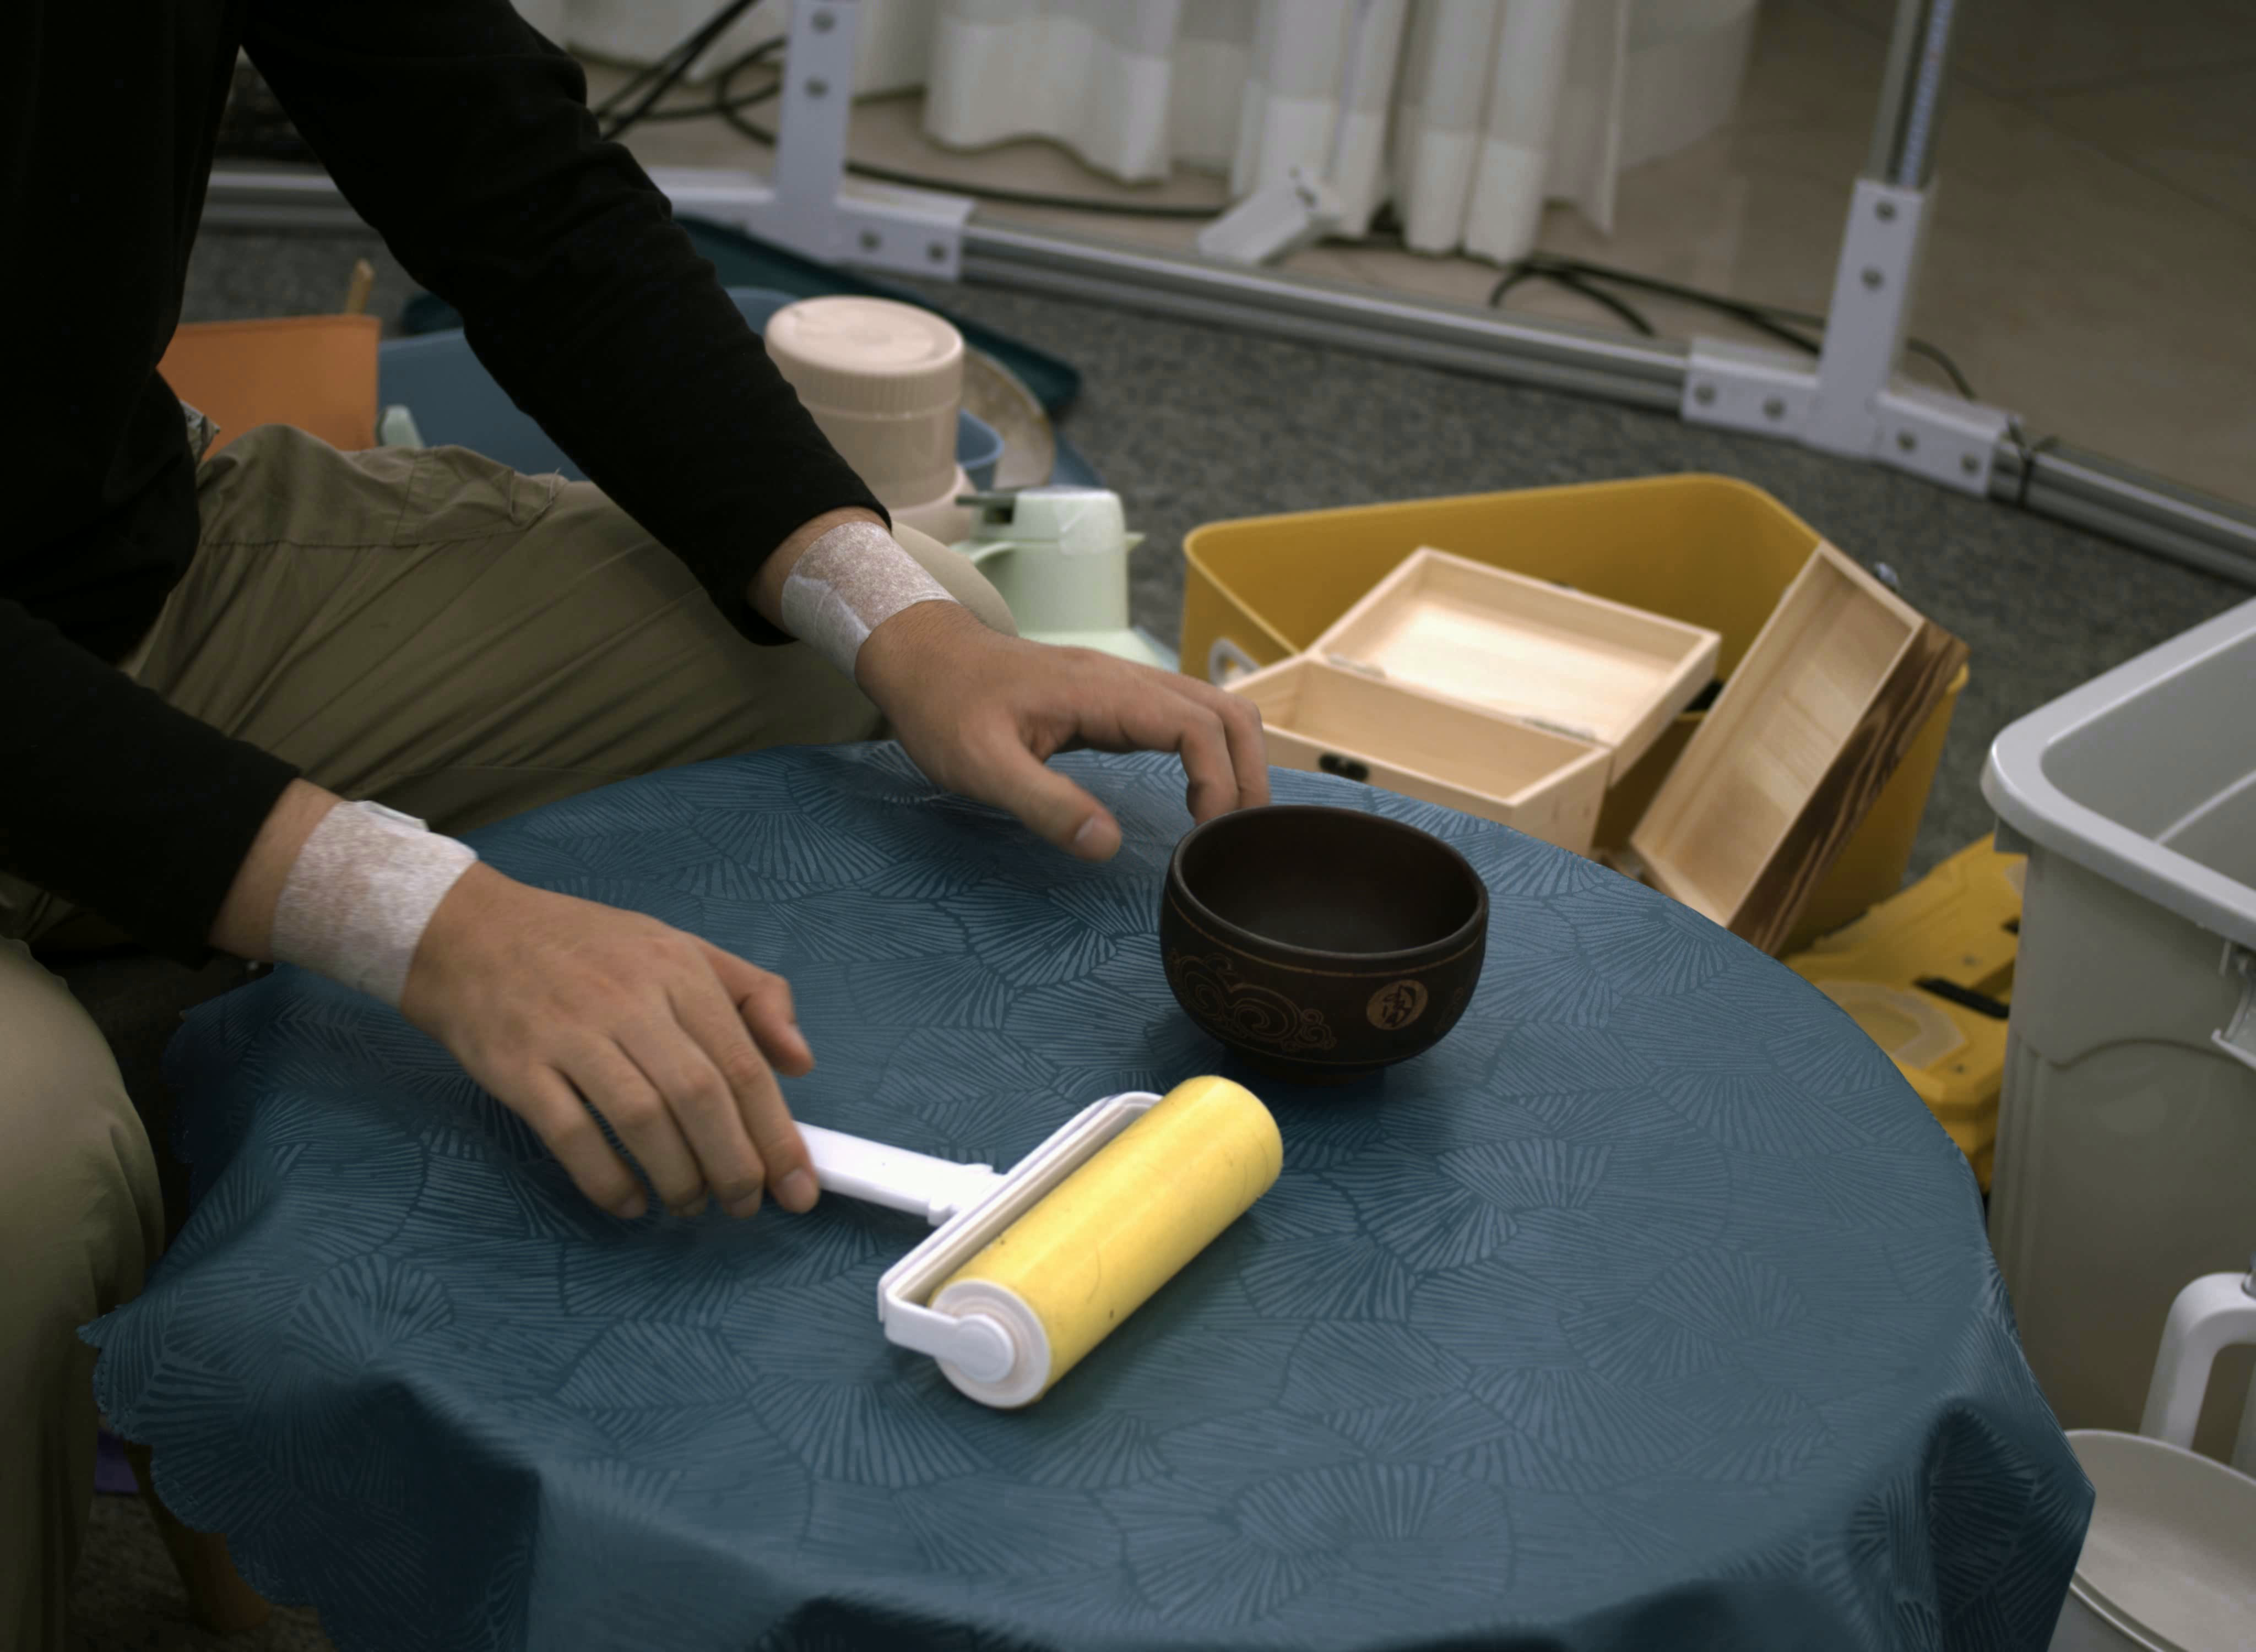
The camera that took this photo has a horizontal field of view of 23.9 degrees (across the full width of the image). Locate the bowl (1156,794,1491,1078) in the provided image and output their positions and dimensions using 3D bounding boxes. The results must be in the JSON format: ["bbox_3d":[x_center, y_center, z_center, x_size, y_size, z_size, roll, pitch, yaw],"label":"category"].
[{"bbox_3d":[0.067,0.046,1.887,0.117,0.069,0.119,6,27,-4],"label":"bowl"}]

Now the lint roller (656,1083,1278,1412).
[{"bbox_3d":[-0.070,0.111,1.753,0.193,0.051,0.174,22,30,19],"label":"lint roller"}]
